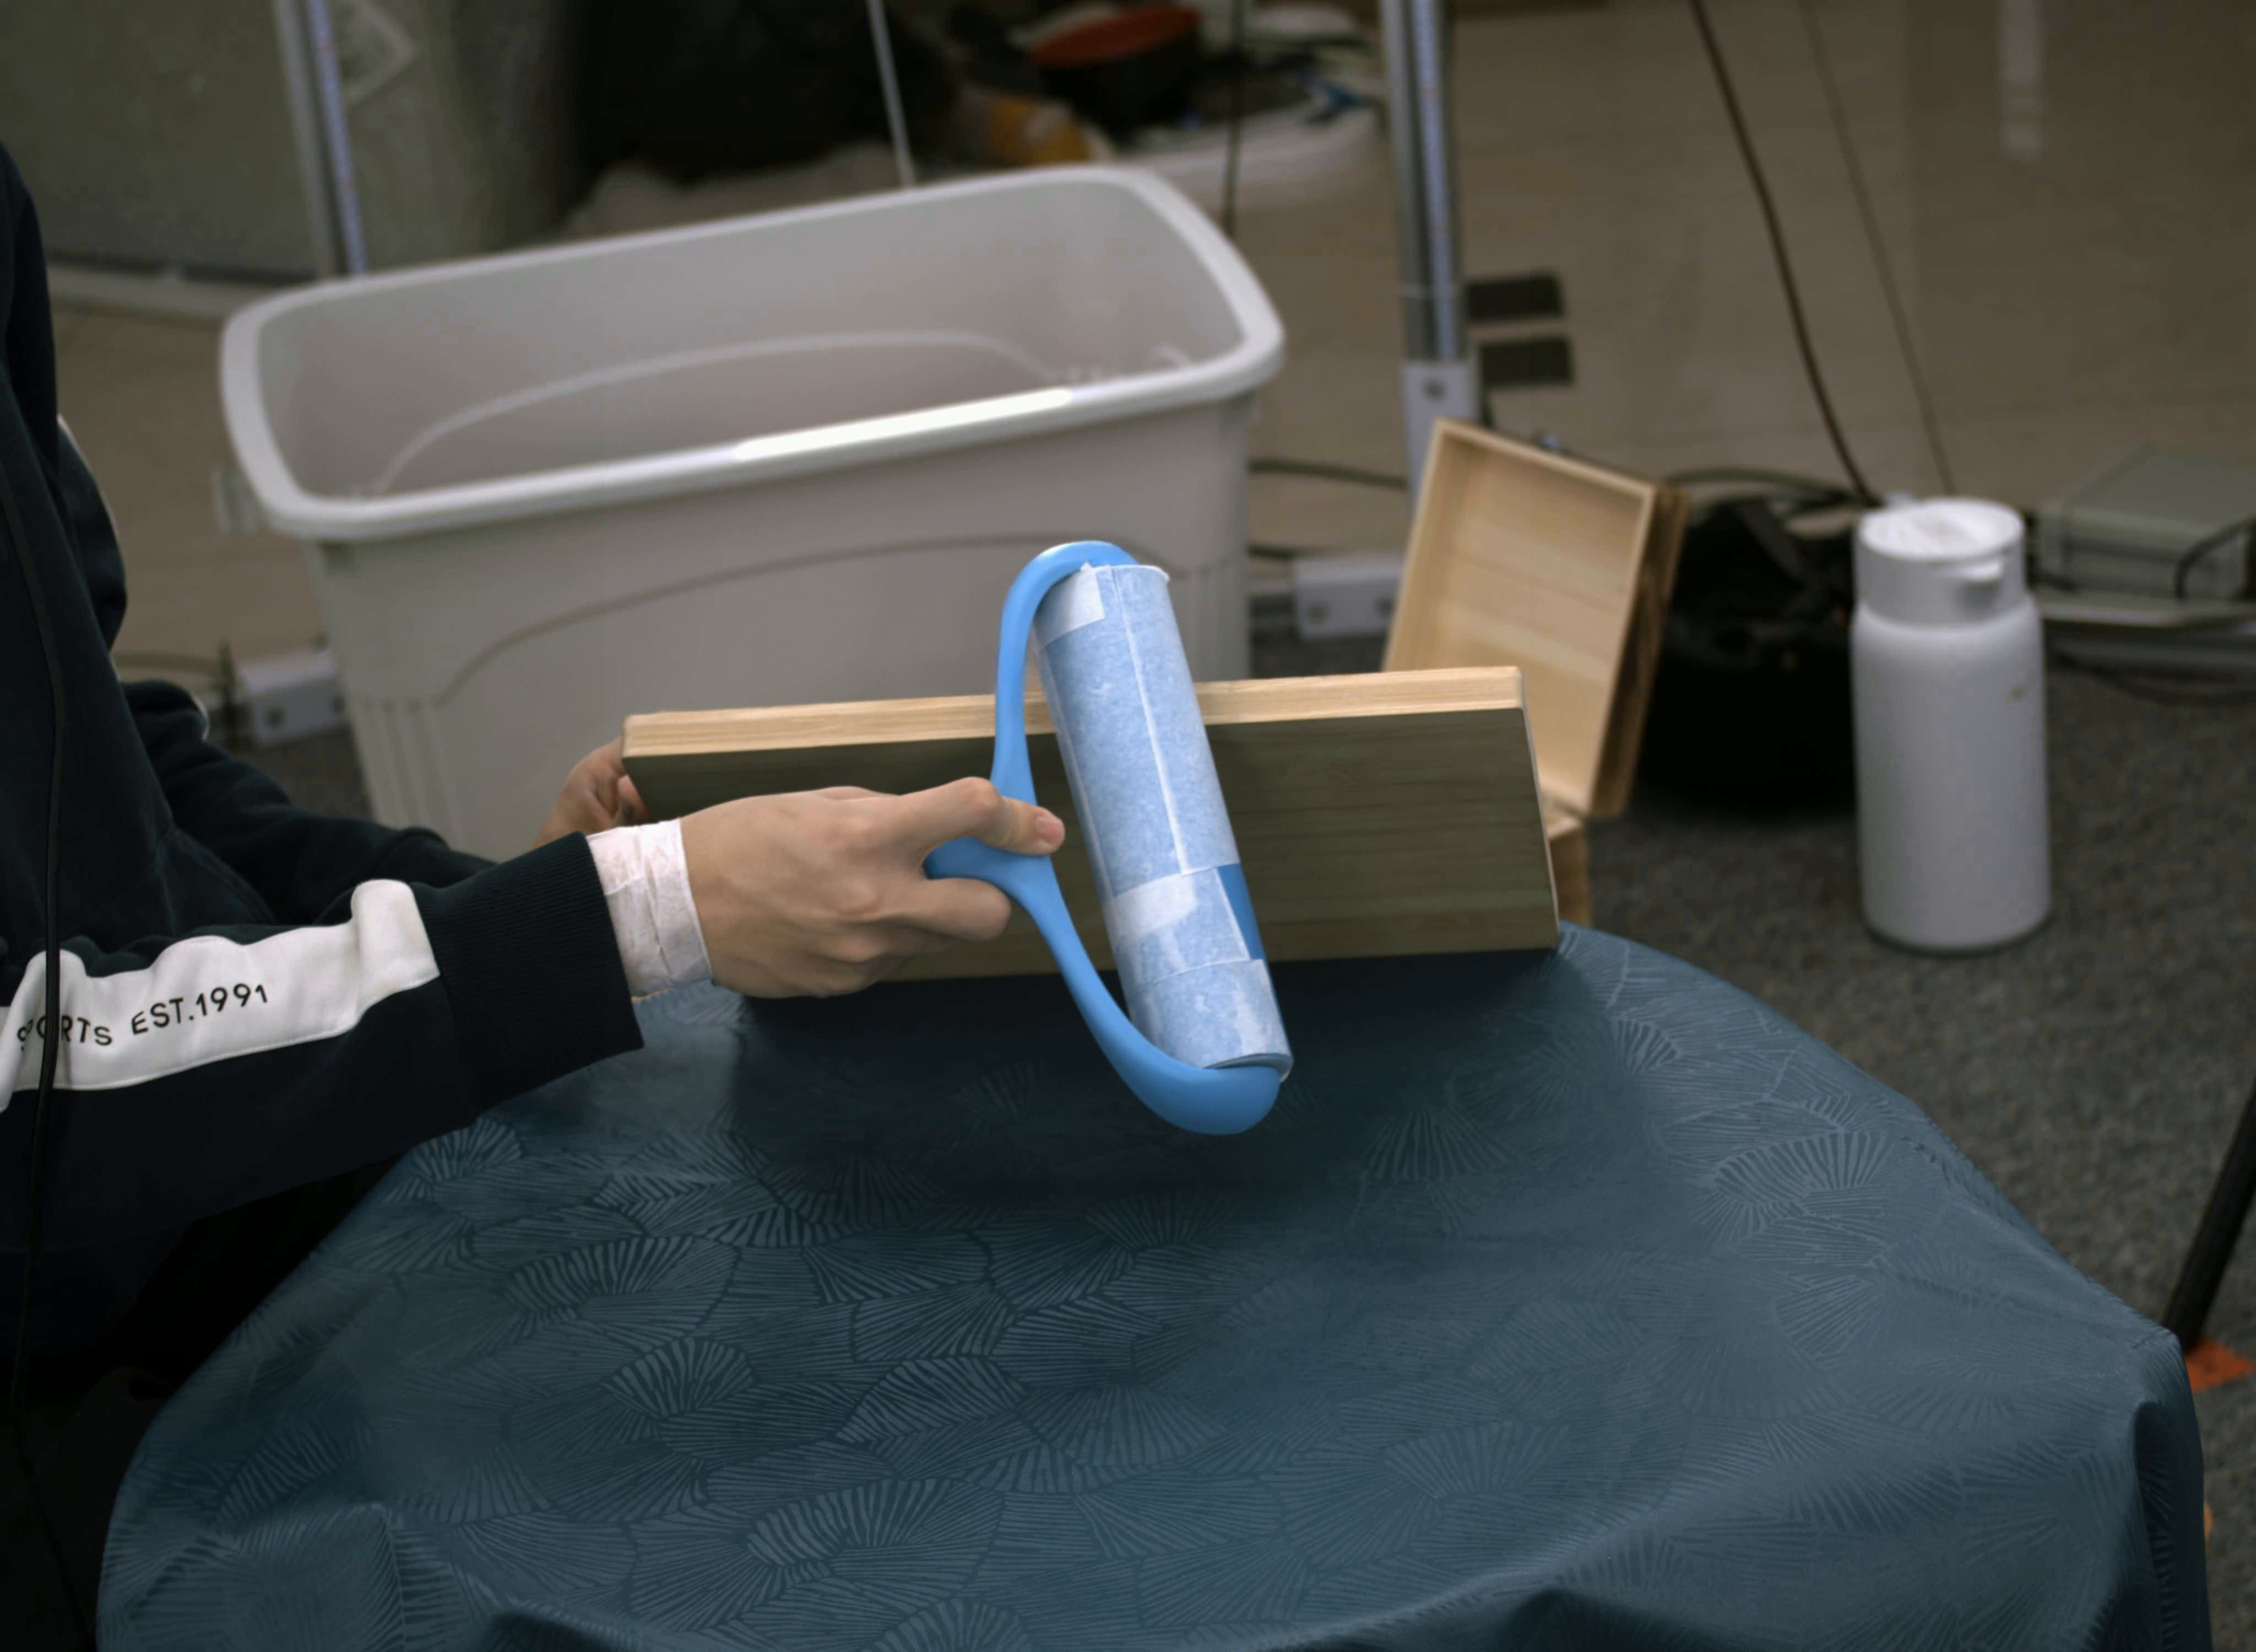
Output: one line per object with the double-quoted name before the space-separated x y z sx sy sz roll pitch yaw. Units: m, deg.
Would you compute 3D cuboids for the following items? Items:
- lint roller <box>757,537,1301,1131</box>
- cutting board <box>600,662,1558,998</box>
"lint roller" -0.045 0.016 2.044 0.180 0.227 0.068 -15 -13 -8
"cutting board" -0.012 0.005 2.208 0.348 0.254 0.023 -3 67 6
